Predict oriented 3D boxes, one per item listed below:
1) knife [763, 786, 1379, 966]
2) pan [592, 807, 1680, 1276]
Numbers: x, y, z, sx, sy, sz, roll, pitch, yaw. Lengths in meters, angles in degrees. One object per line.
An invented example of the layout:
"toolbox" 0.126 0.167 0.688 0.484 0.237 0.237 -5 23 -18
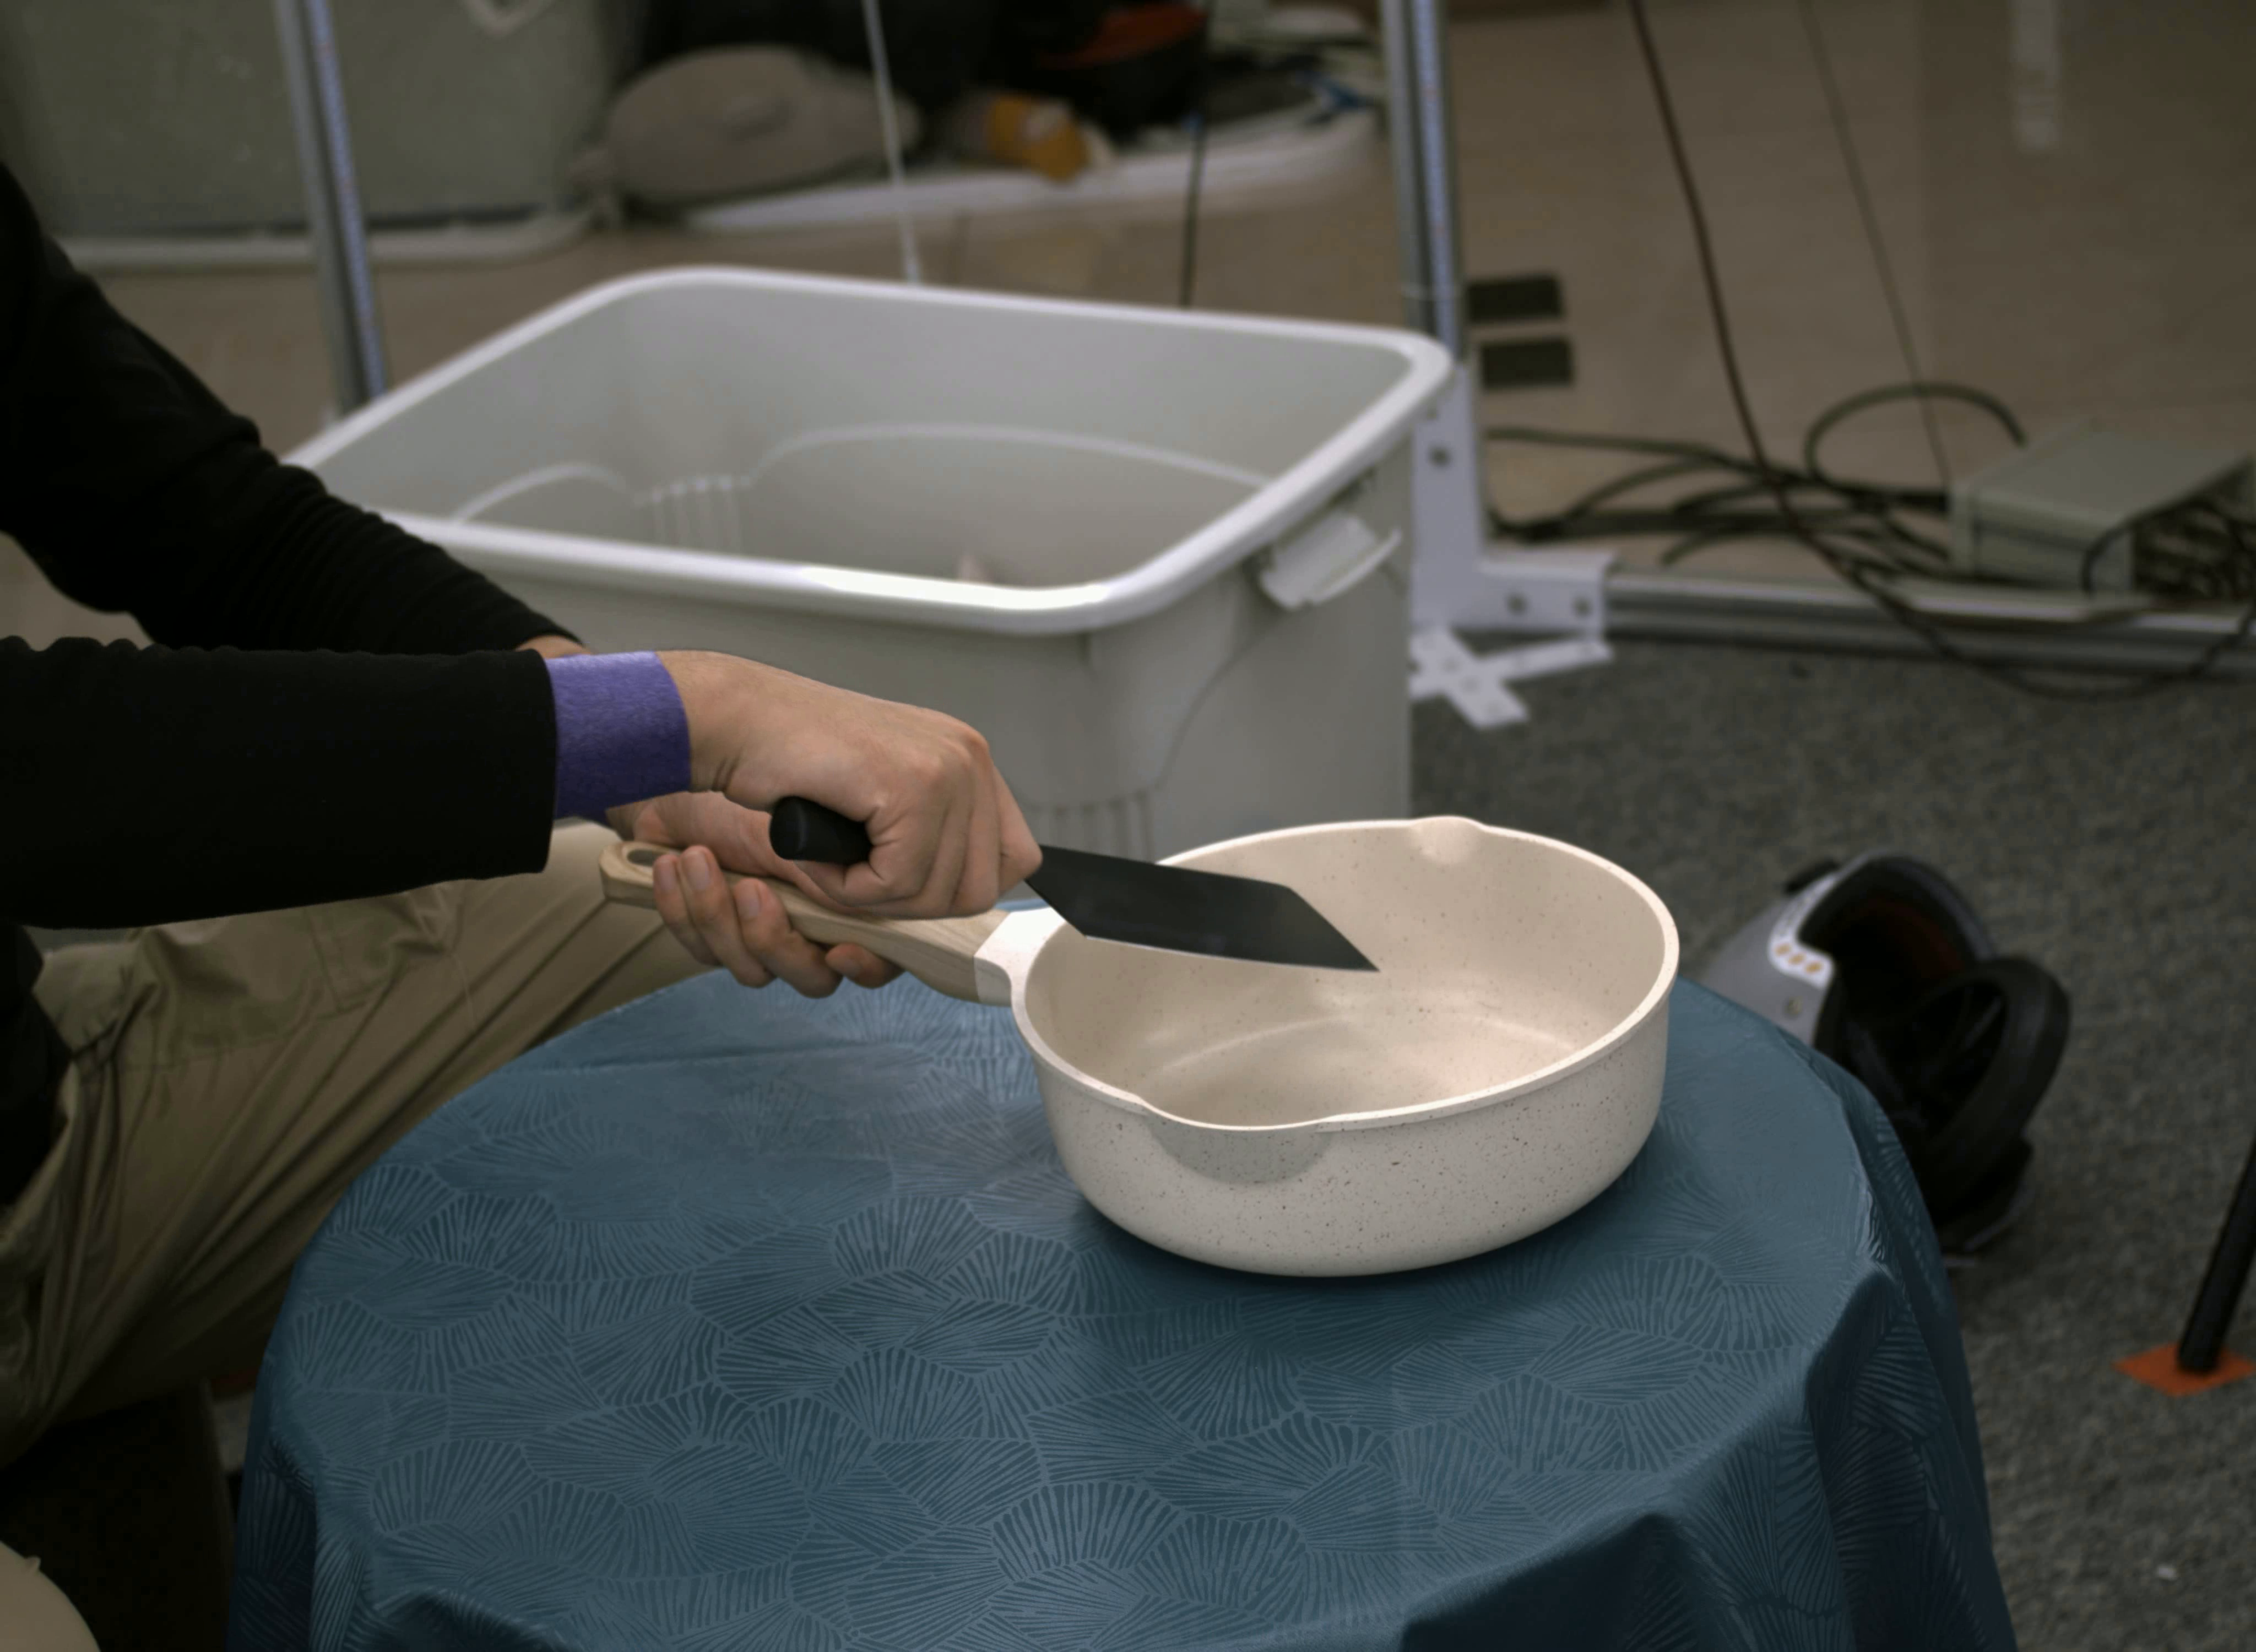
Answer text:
"knife" -0.019 0.021 2.085 0.303 0.021 0.080 12 24 -45
"pan" 0.000 0.074 2.174 0.433 0.103 0.260 4 29 21
